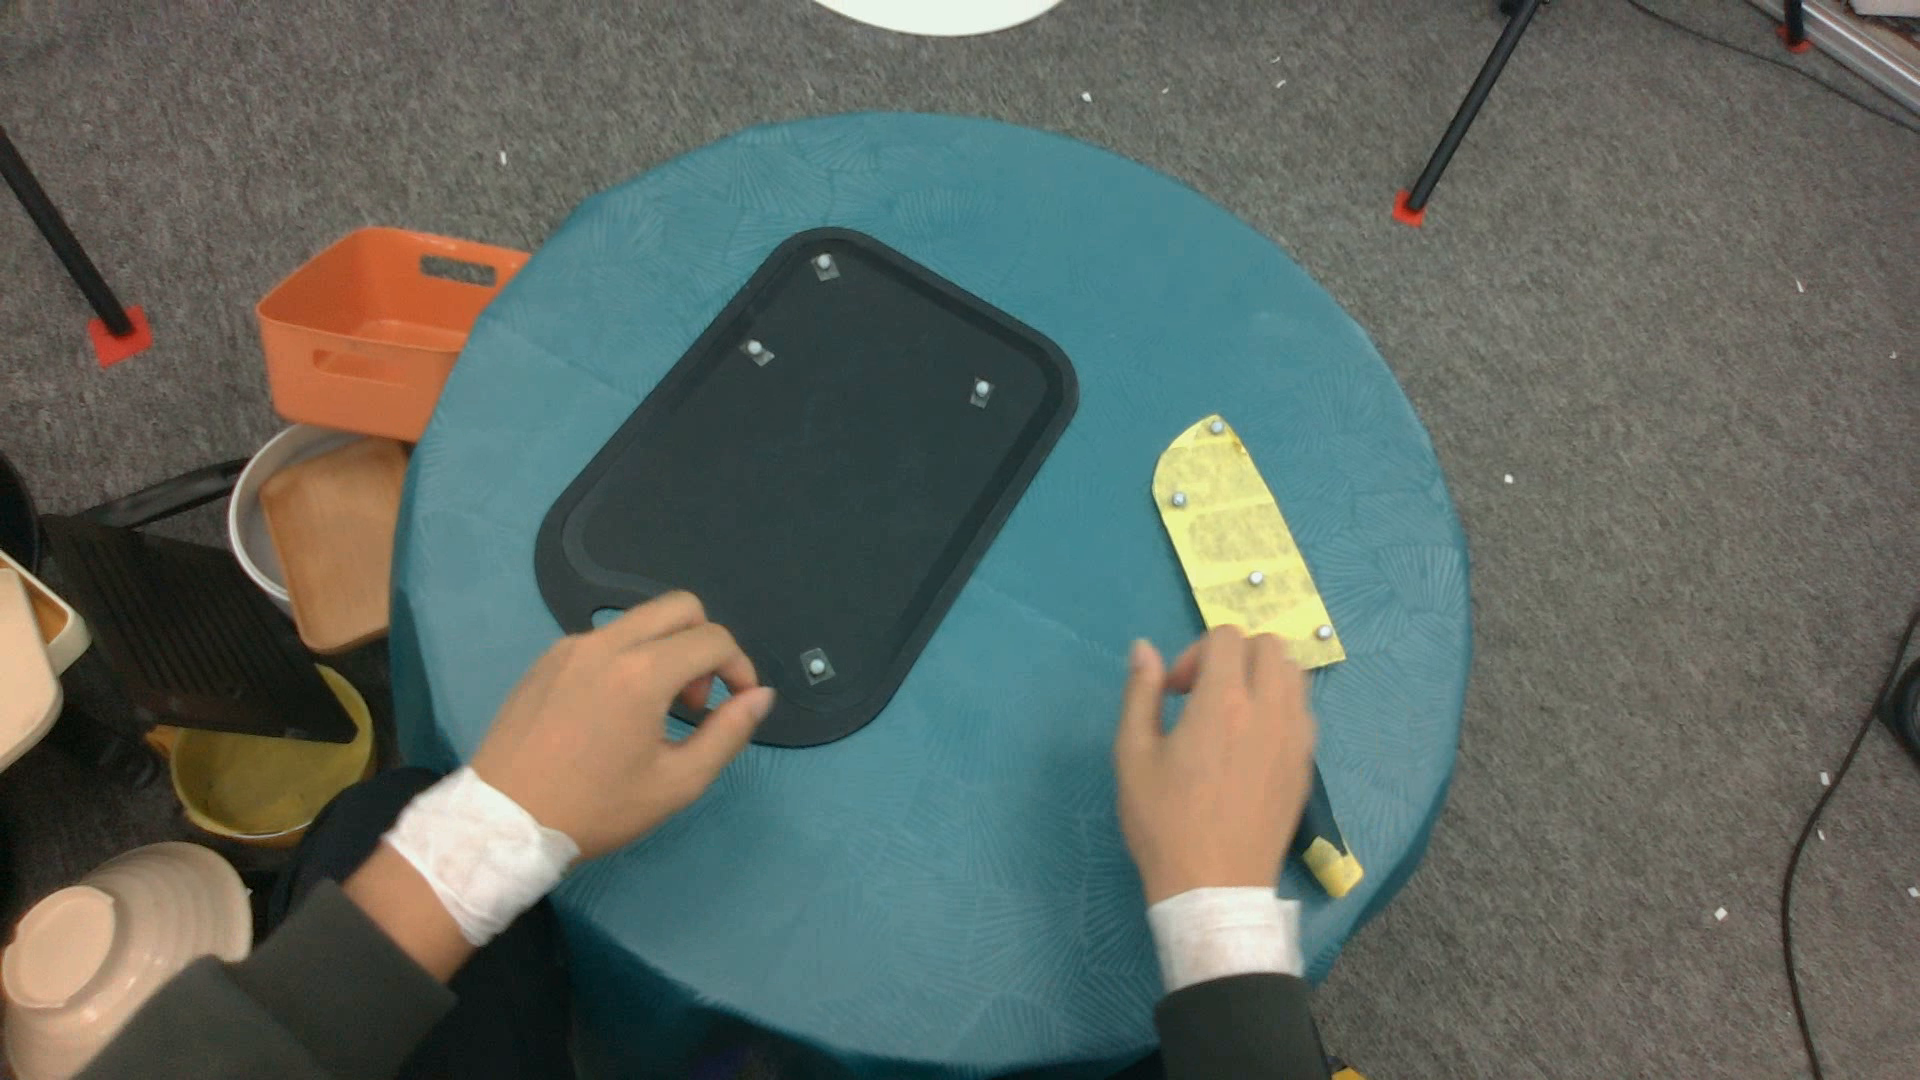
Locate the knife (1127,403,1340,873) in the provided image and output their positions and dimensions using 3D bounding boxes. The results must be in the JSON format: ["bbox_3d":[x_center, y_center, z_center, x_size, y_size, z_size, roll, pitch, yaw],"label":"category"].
[{"bbox_3d":[0.160,0.042,0.771,0.081,0.027,0.290,-9,64,-13],"label":"knife"}]

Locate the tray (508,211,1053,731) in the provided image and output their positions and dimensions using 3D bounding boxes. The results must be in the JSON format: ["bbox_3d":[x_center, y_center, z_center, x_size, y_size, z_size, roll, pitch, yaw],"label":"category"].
[{"bbox_3d":[-0.093,-0.048,0.770,0.211,0.010,0.327,30,61,5],"label":"tray"}]
